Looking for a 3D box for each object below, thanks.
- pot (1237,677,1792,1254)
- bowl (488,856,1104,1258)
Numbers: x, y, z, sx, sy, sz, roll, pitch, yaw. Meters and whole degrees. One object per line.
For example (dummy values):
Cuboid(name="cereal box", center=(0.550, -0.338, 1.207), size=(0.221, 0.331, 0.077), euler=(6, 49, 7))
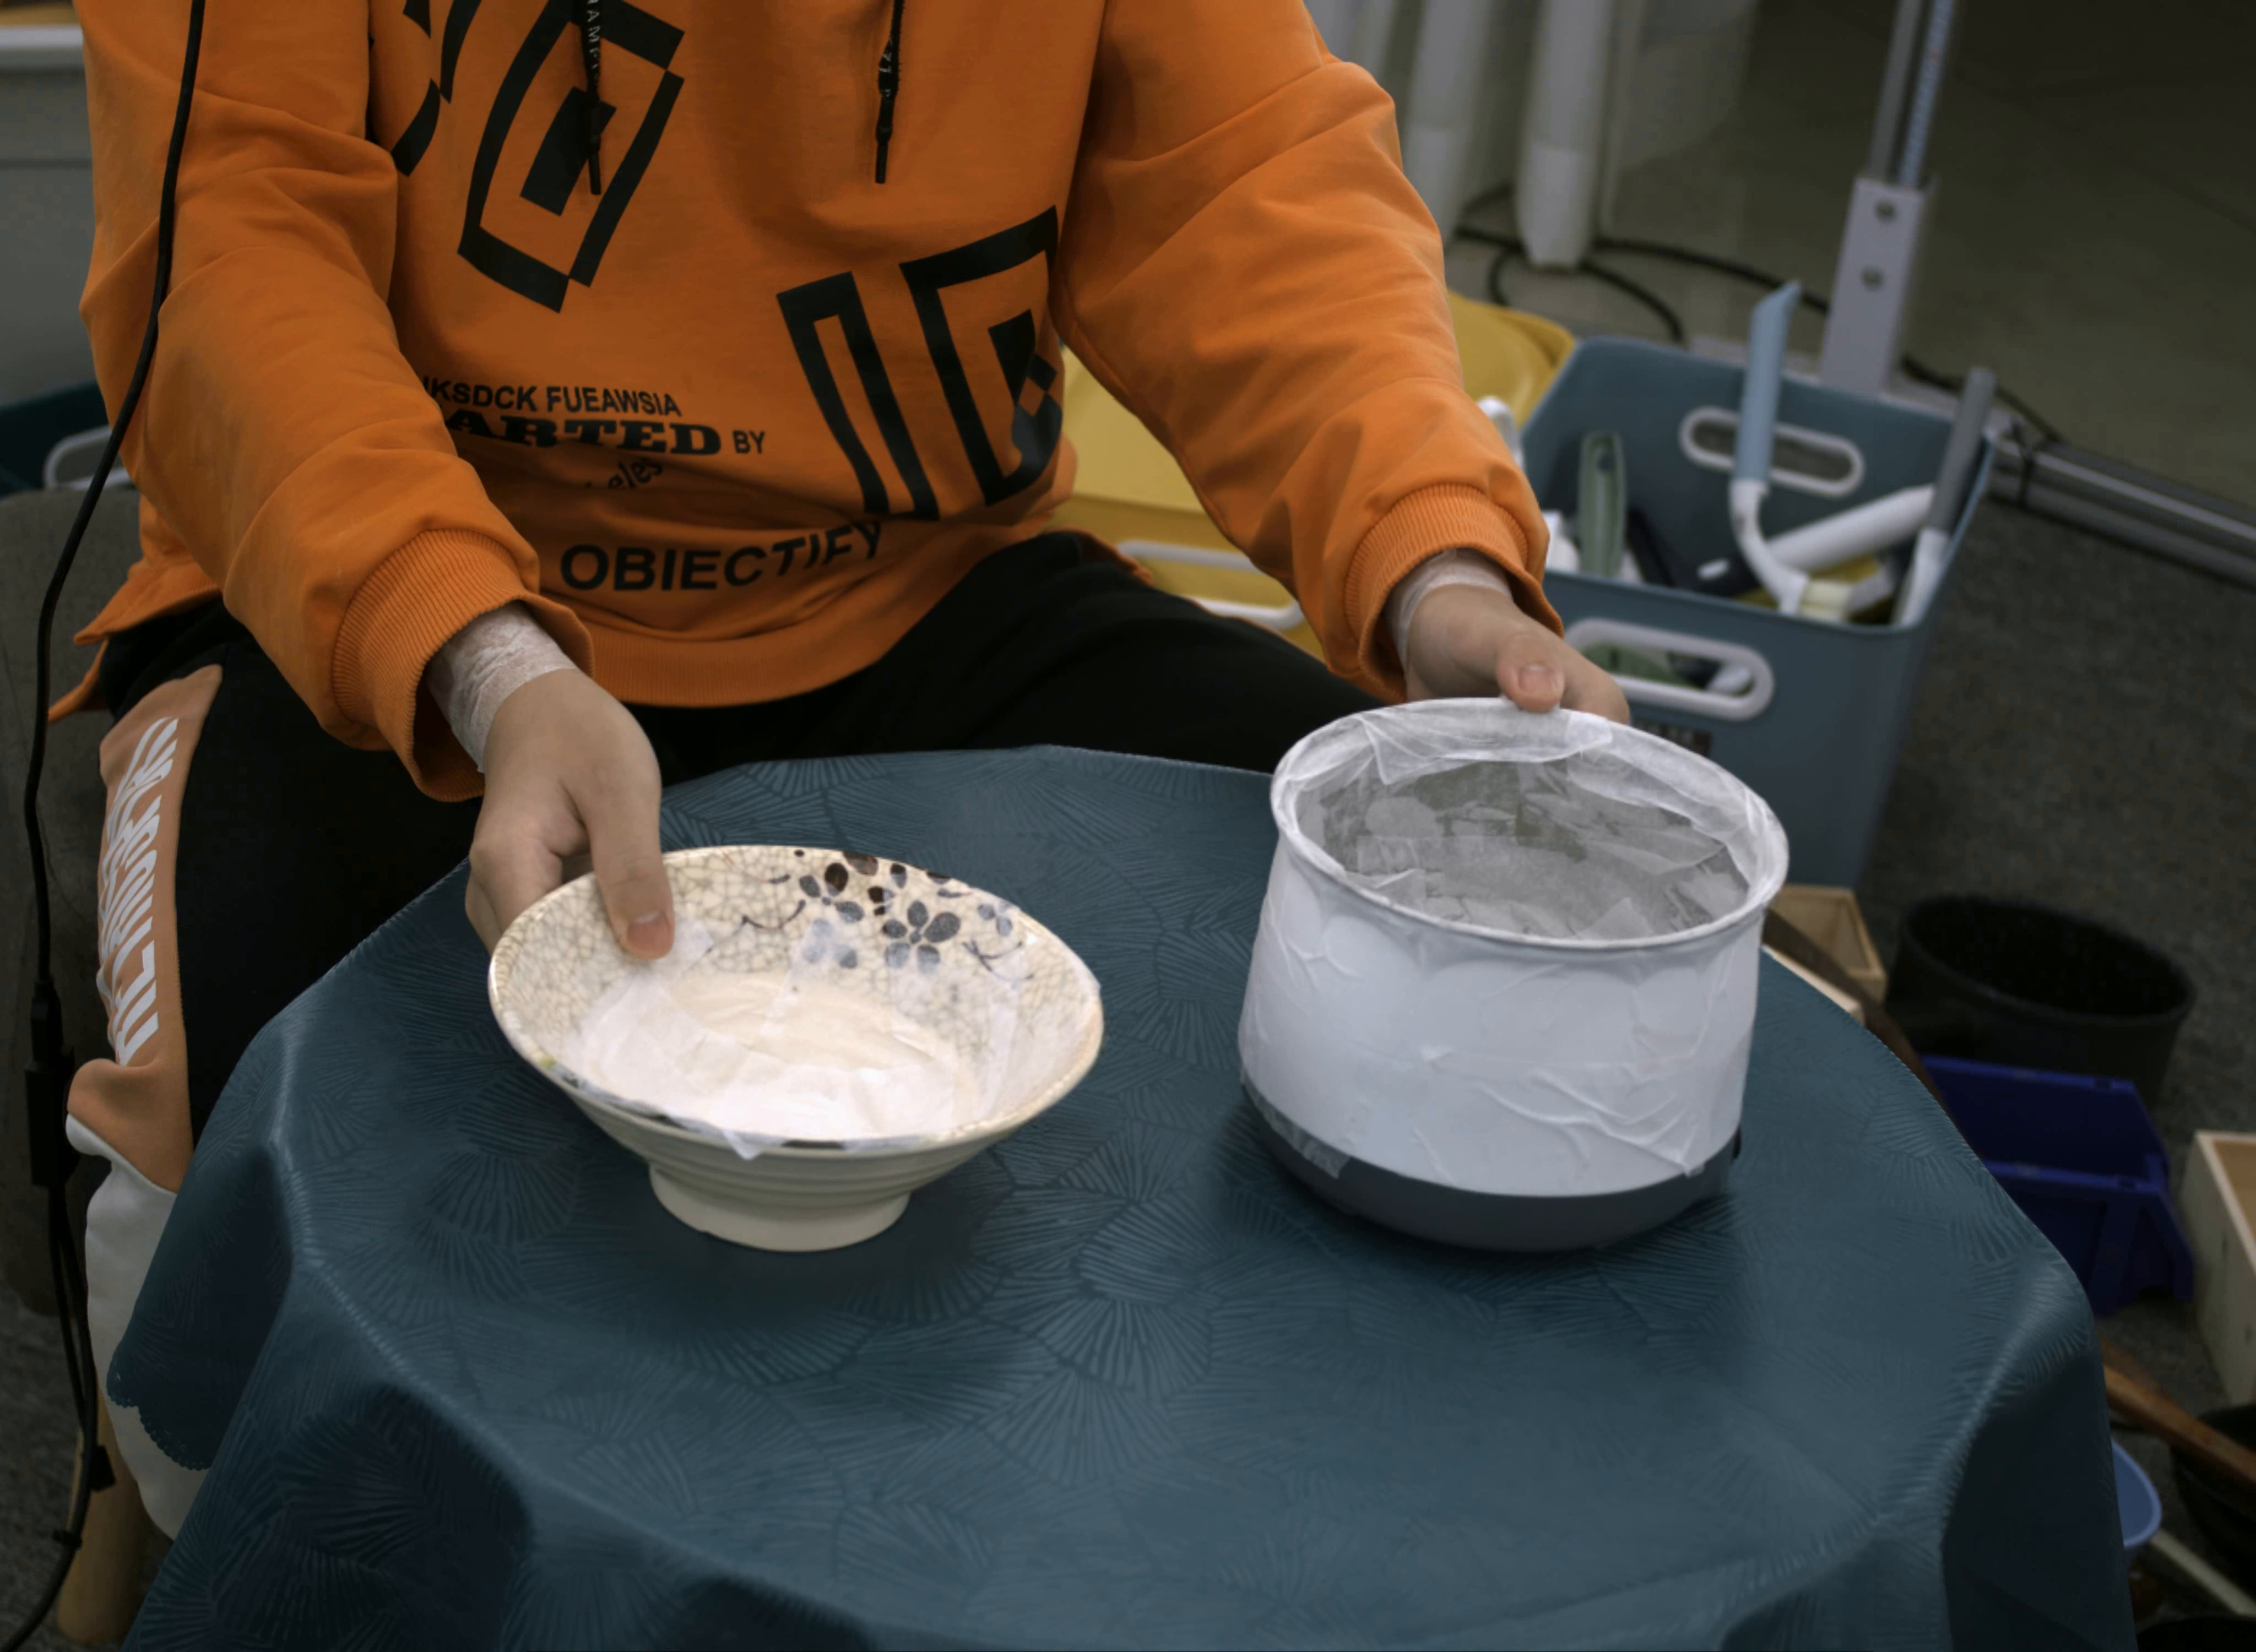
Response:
Cuboid(name="pot", center=(0.130, 0.040, 1.844), size=(0.178, 0.136, 0.235), euler=(7, 27, 0))
Cuboid(name="bowl", center=(-0.112, 0.088, 1.764), size=(0.203, 0.078, 0.205), euler=(4, 25, -2))
